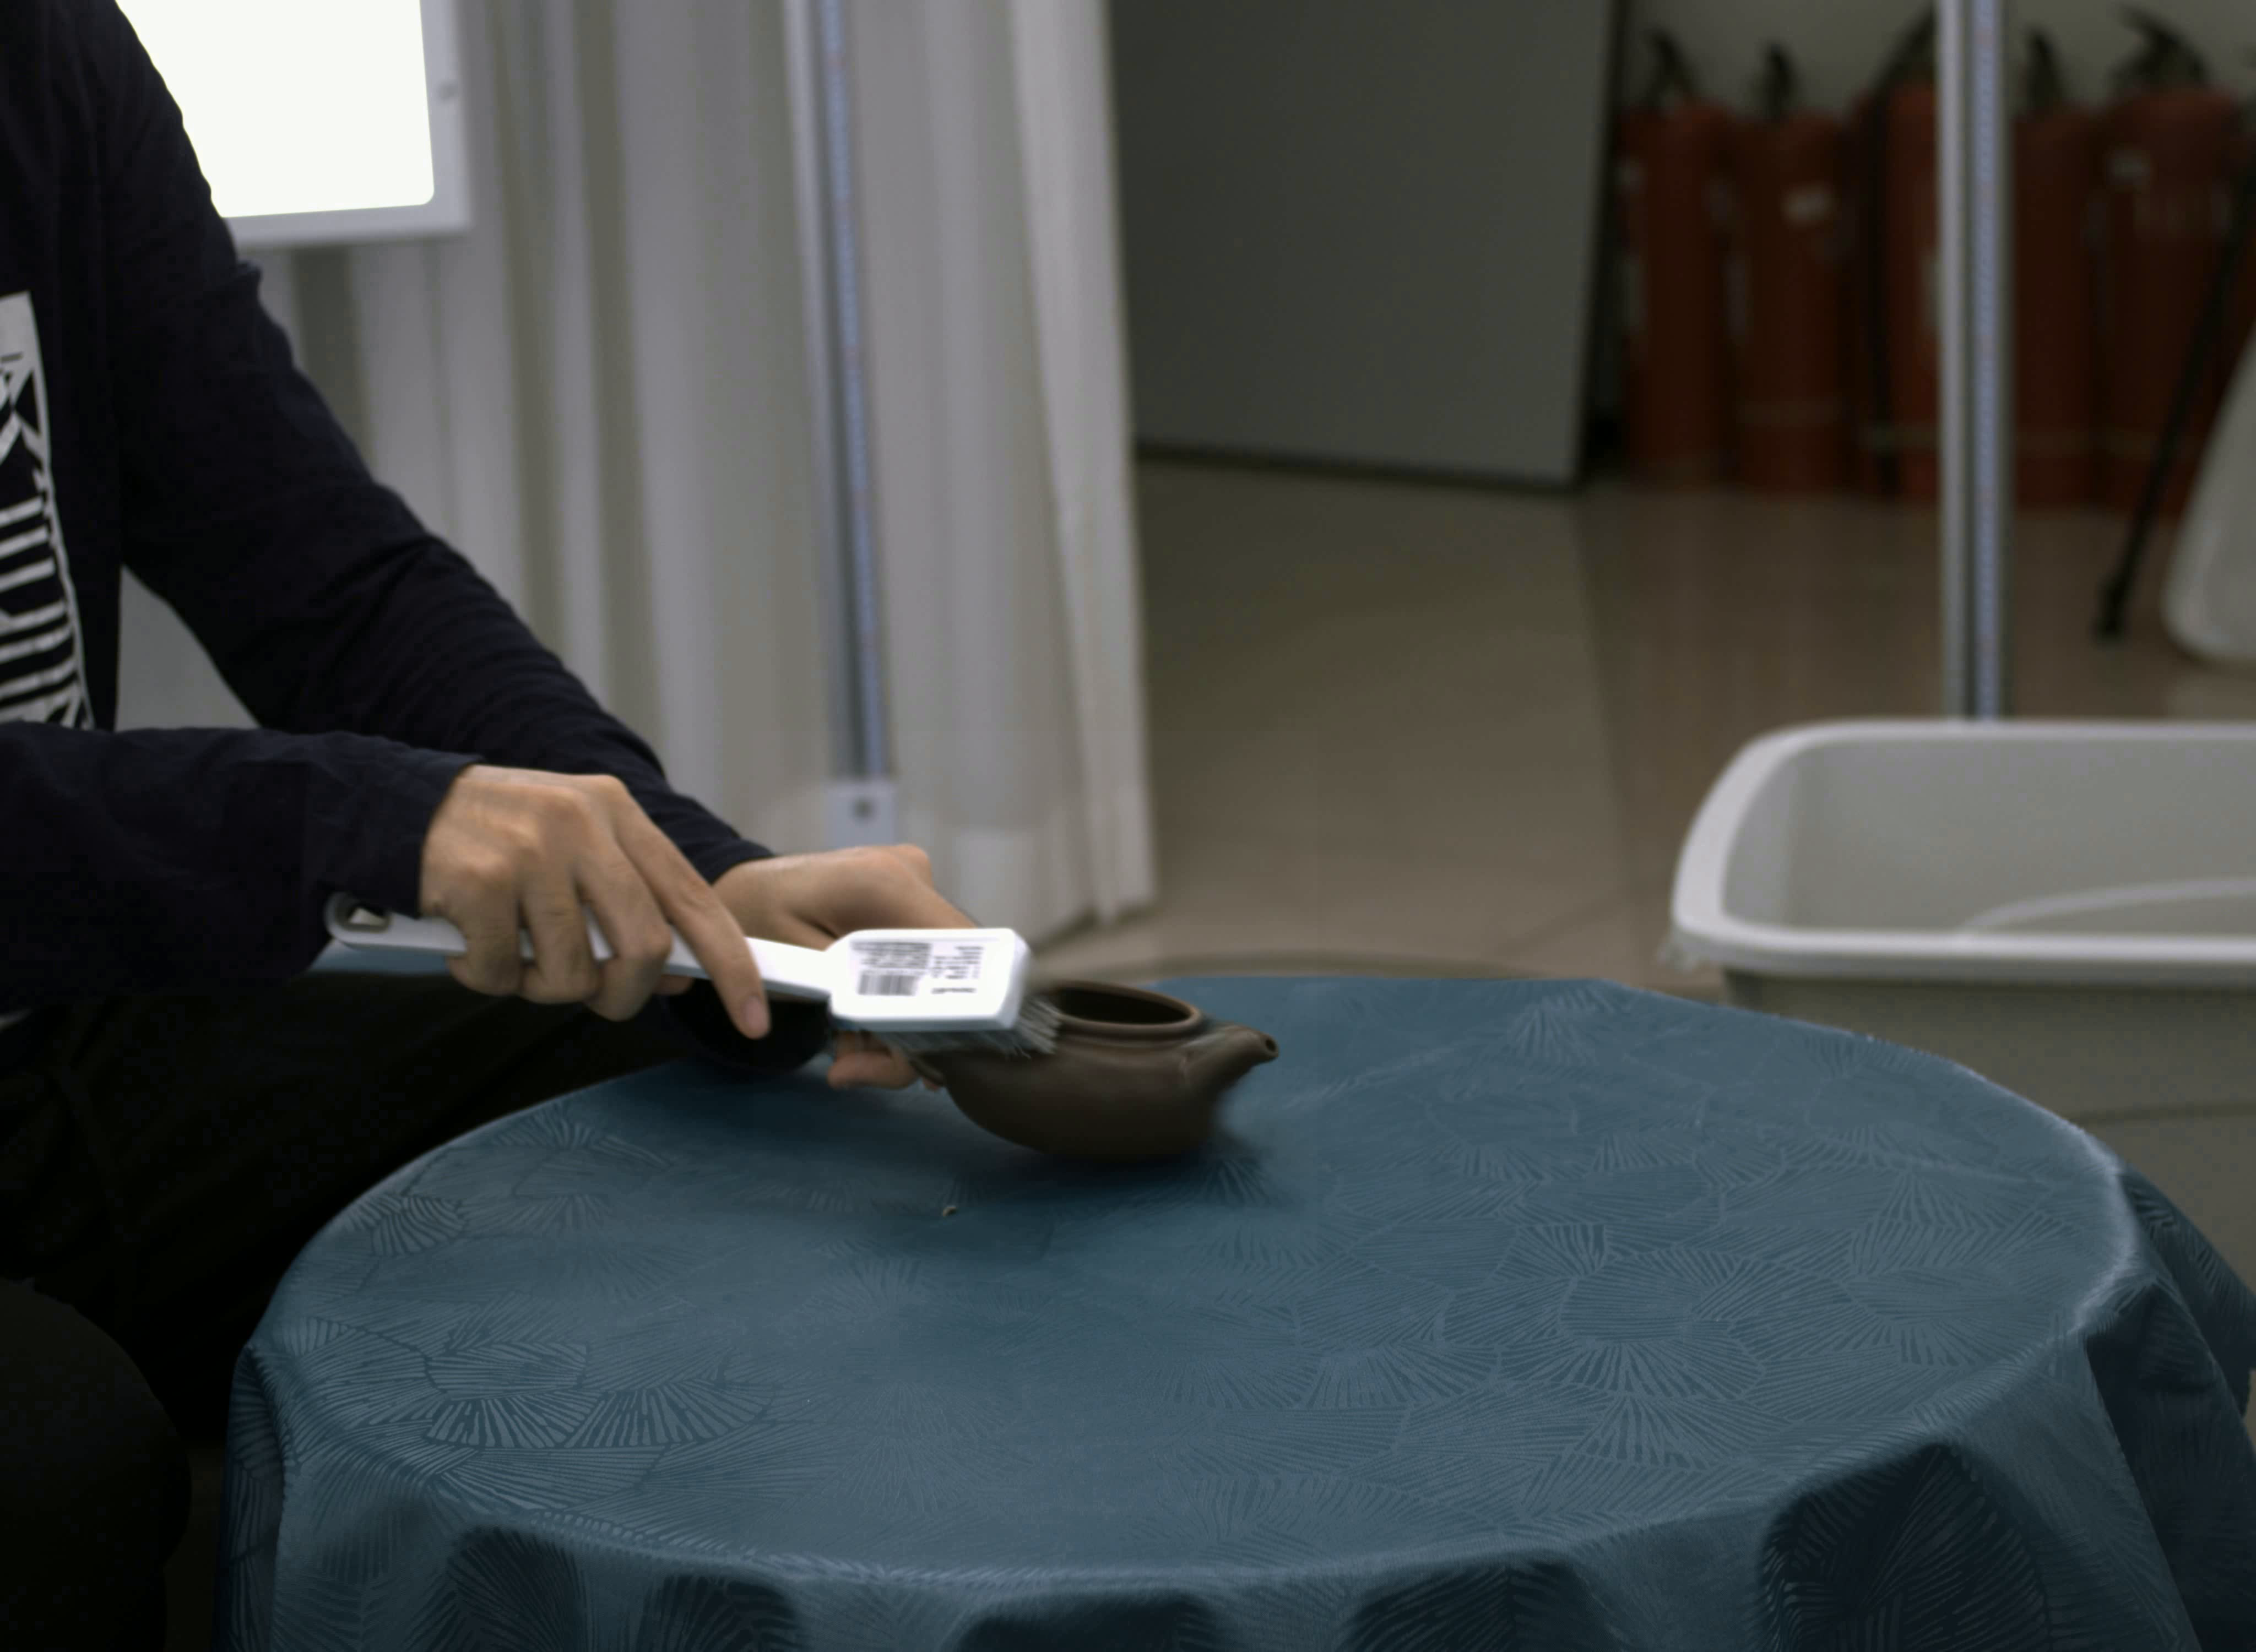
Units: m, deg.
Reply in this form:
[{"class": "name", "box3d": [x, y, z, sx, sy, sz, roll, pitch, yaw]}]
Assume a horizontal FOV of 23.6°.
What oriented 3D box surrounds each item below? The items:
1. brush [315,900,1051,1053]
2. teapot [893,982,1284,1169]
[{"class": "brush", "box3d": [-0.146, 0.048, 1.779, 0.241, 0.035, 0.050, 3, -21, 7]}, {"class": "teapot", "box3d": [-0.016, 0.081, 1.812, 0.154, 0.054, 0.101, 13, 11, 29]}]
